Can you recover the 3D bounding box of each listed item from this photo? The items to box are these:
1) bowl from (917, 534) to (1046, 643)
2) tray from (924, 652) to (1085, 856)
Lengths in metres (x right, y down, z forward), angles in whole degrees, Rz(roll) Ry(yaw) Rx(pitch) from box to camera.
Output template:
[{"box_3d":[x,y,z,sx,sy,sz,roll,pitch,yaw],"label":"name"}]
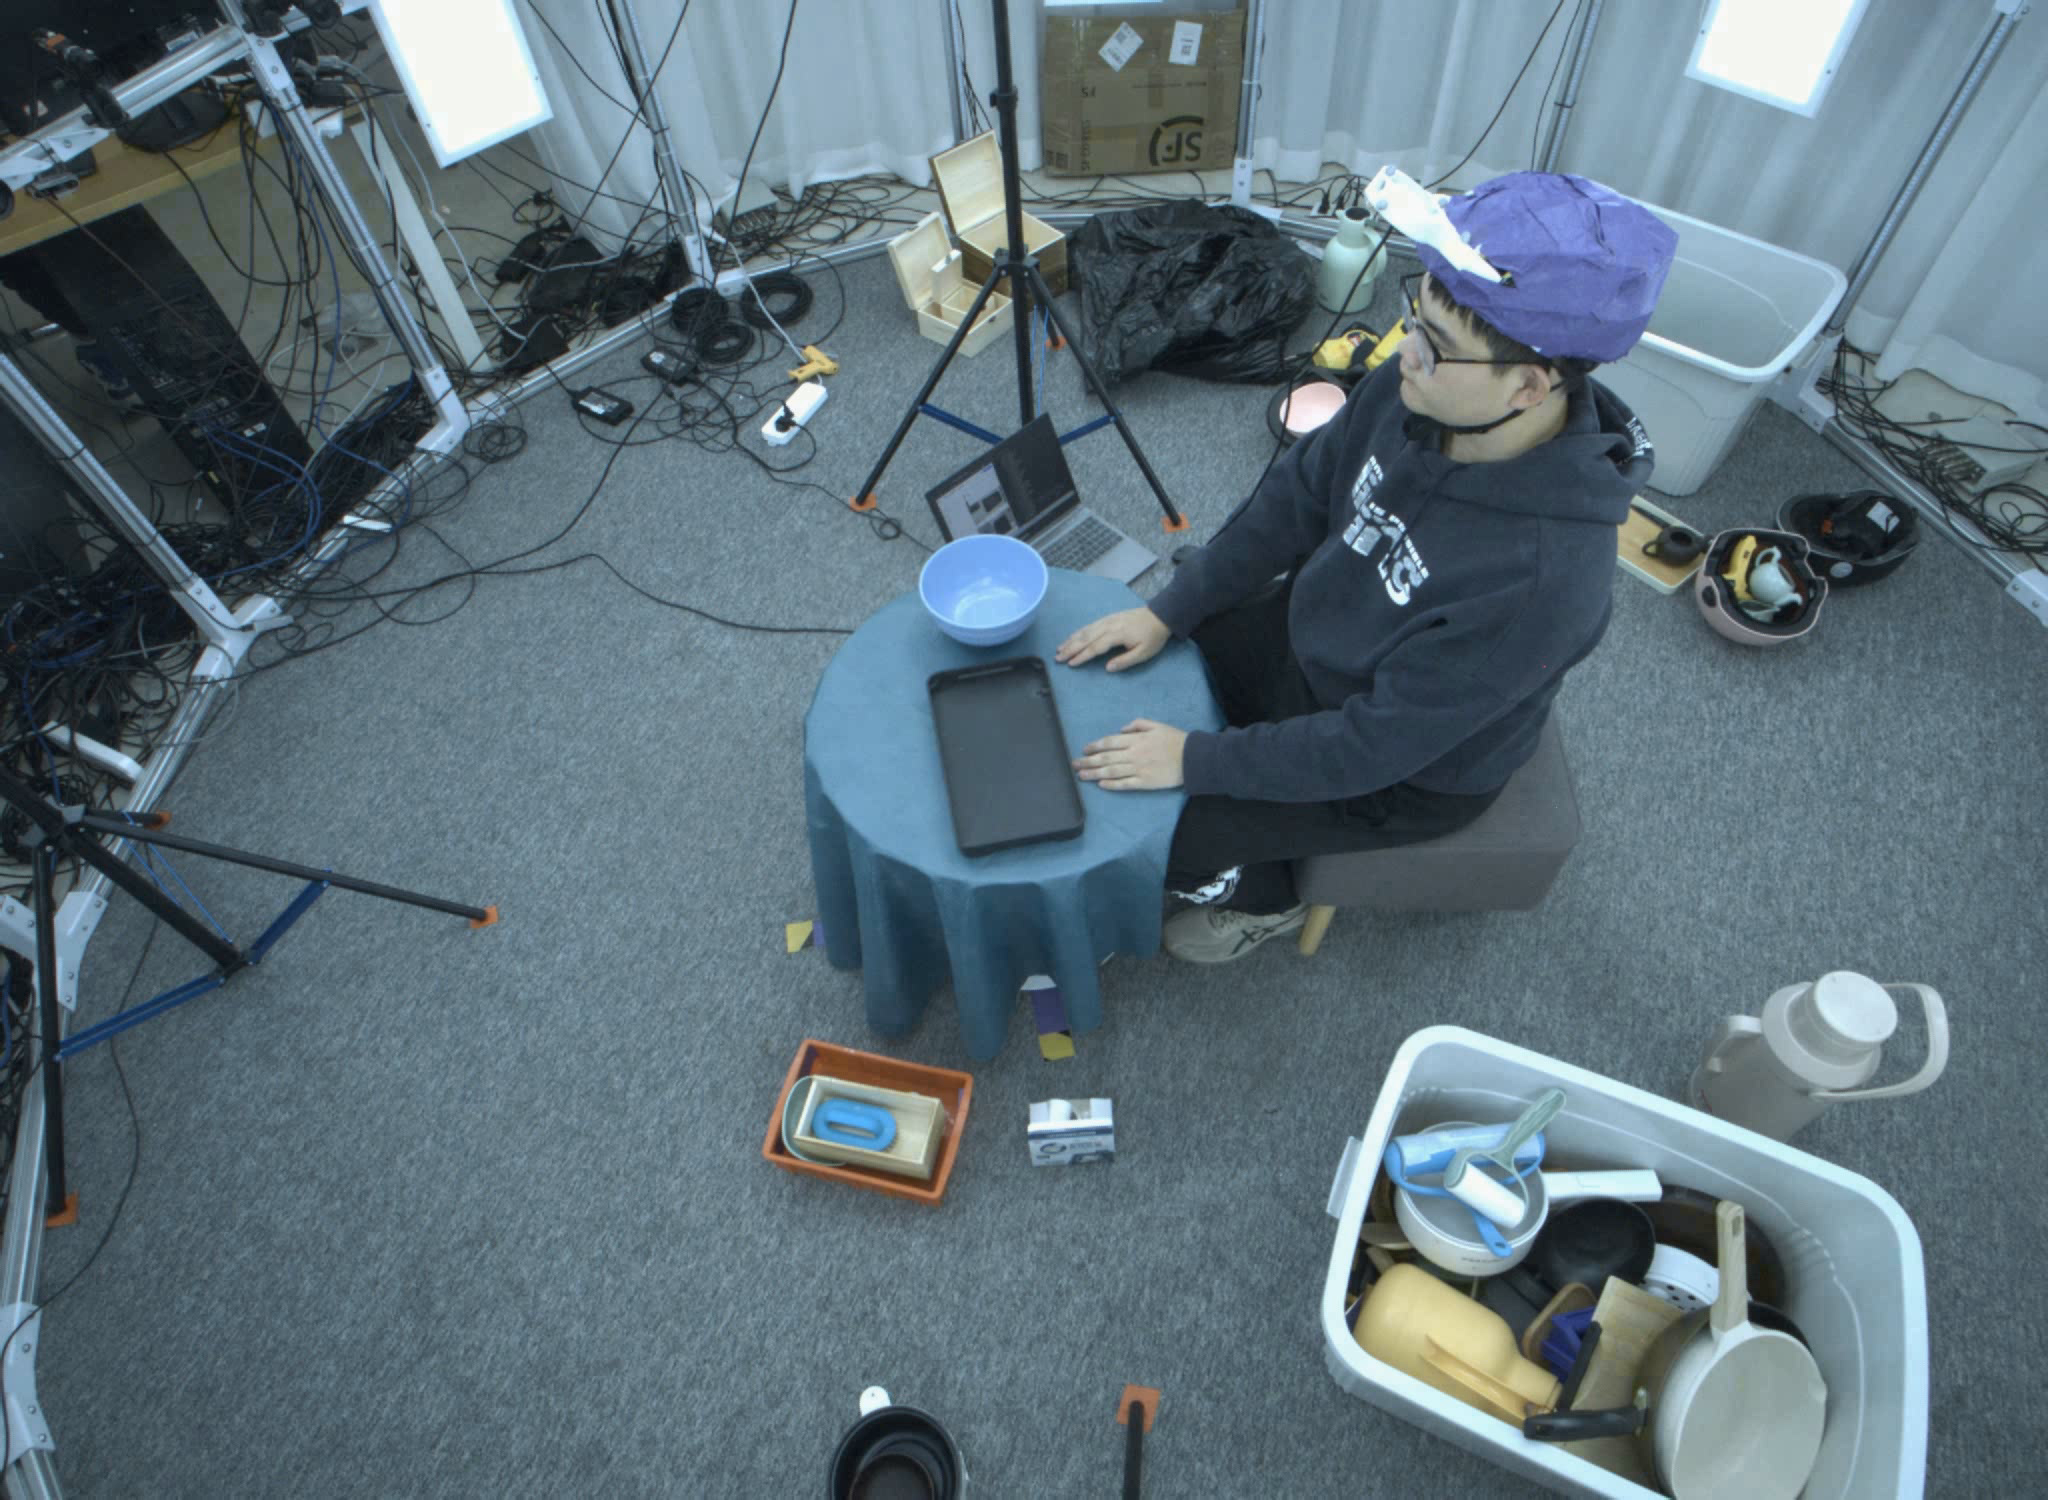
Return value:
[{"box_3d":[-0.062,-0.234,1.893,0.196,0.096,0.194,-1,53,3],"label":"bowl"},{"box_3d":[-0.032,0.000,1.765,0.185,0.037,0.313,-10,55,-6],"label":"tray"}]
